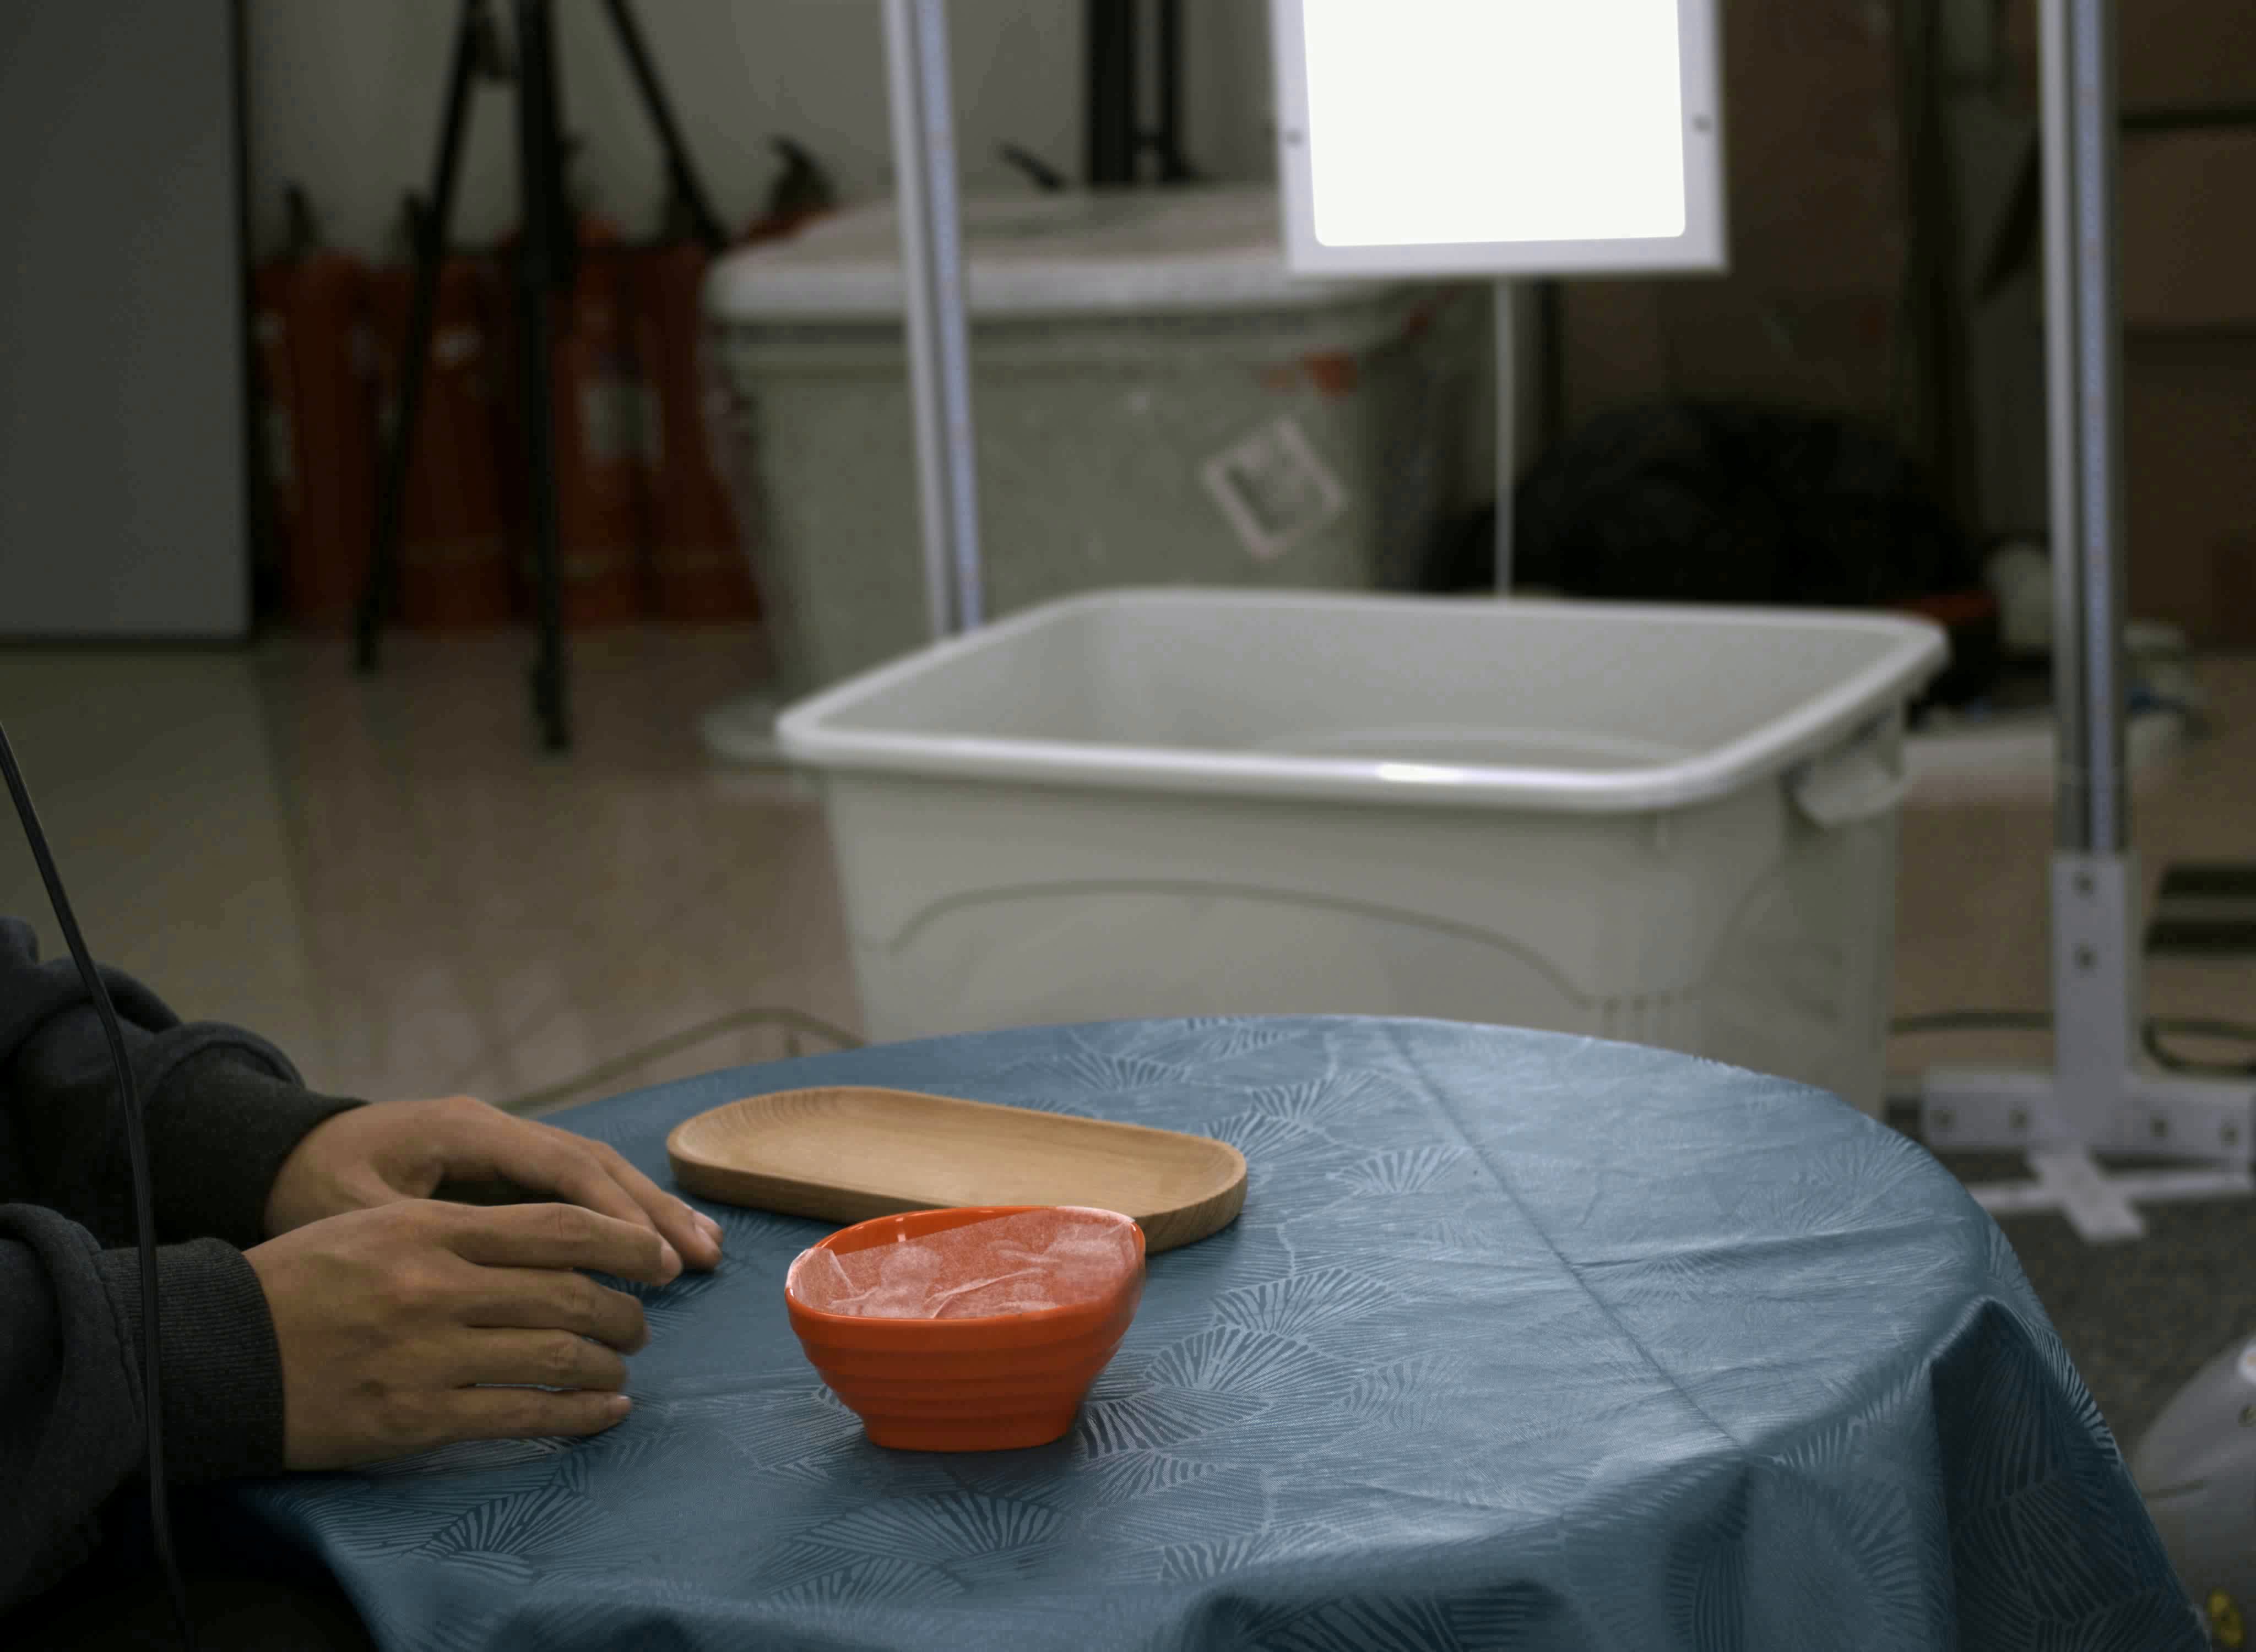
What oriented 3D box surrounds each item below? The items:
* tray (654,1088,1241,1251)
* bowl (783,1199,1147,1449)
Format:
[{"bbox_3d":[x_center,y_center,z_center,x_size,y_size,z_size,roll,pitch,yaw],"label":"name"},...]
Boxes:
[{"bbox_3d":[-0.064,0.120,1.914,0.236,0.020,0.099,4,15,37],"label":"tray"},{"bbox_3d":[-0.048,0.155,1.686,0.118,0.051,0.119,-5,15,0],"label":"bowl"}]
